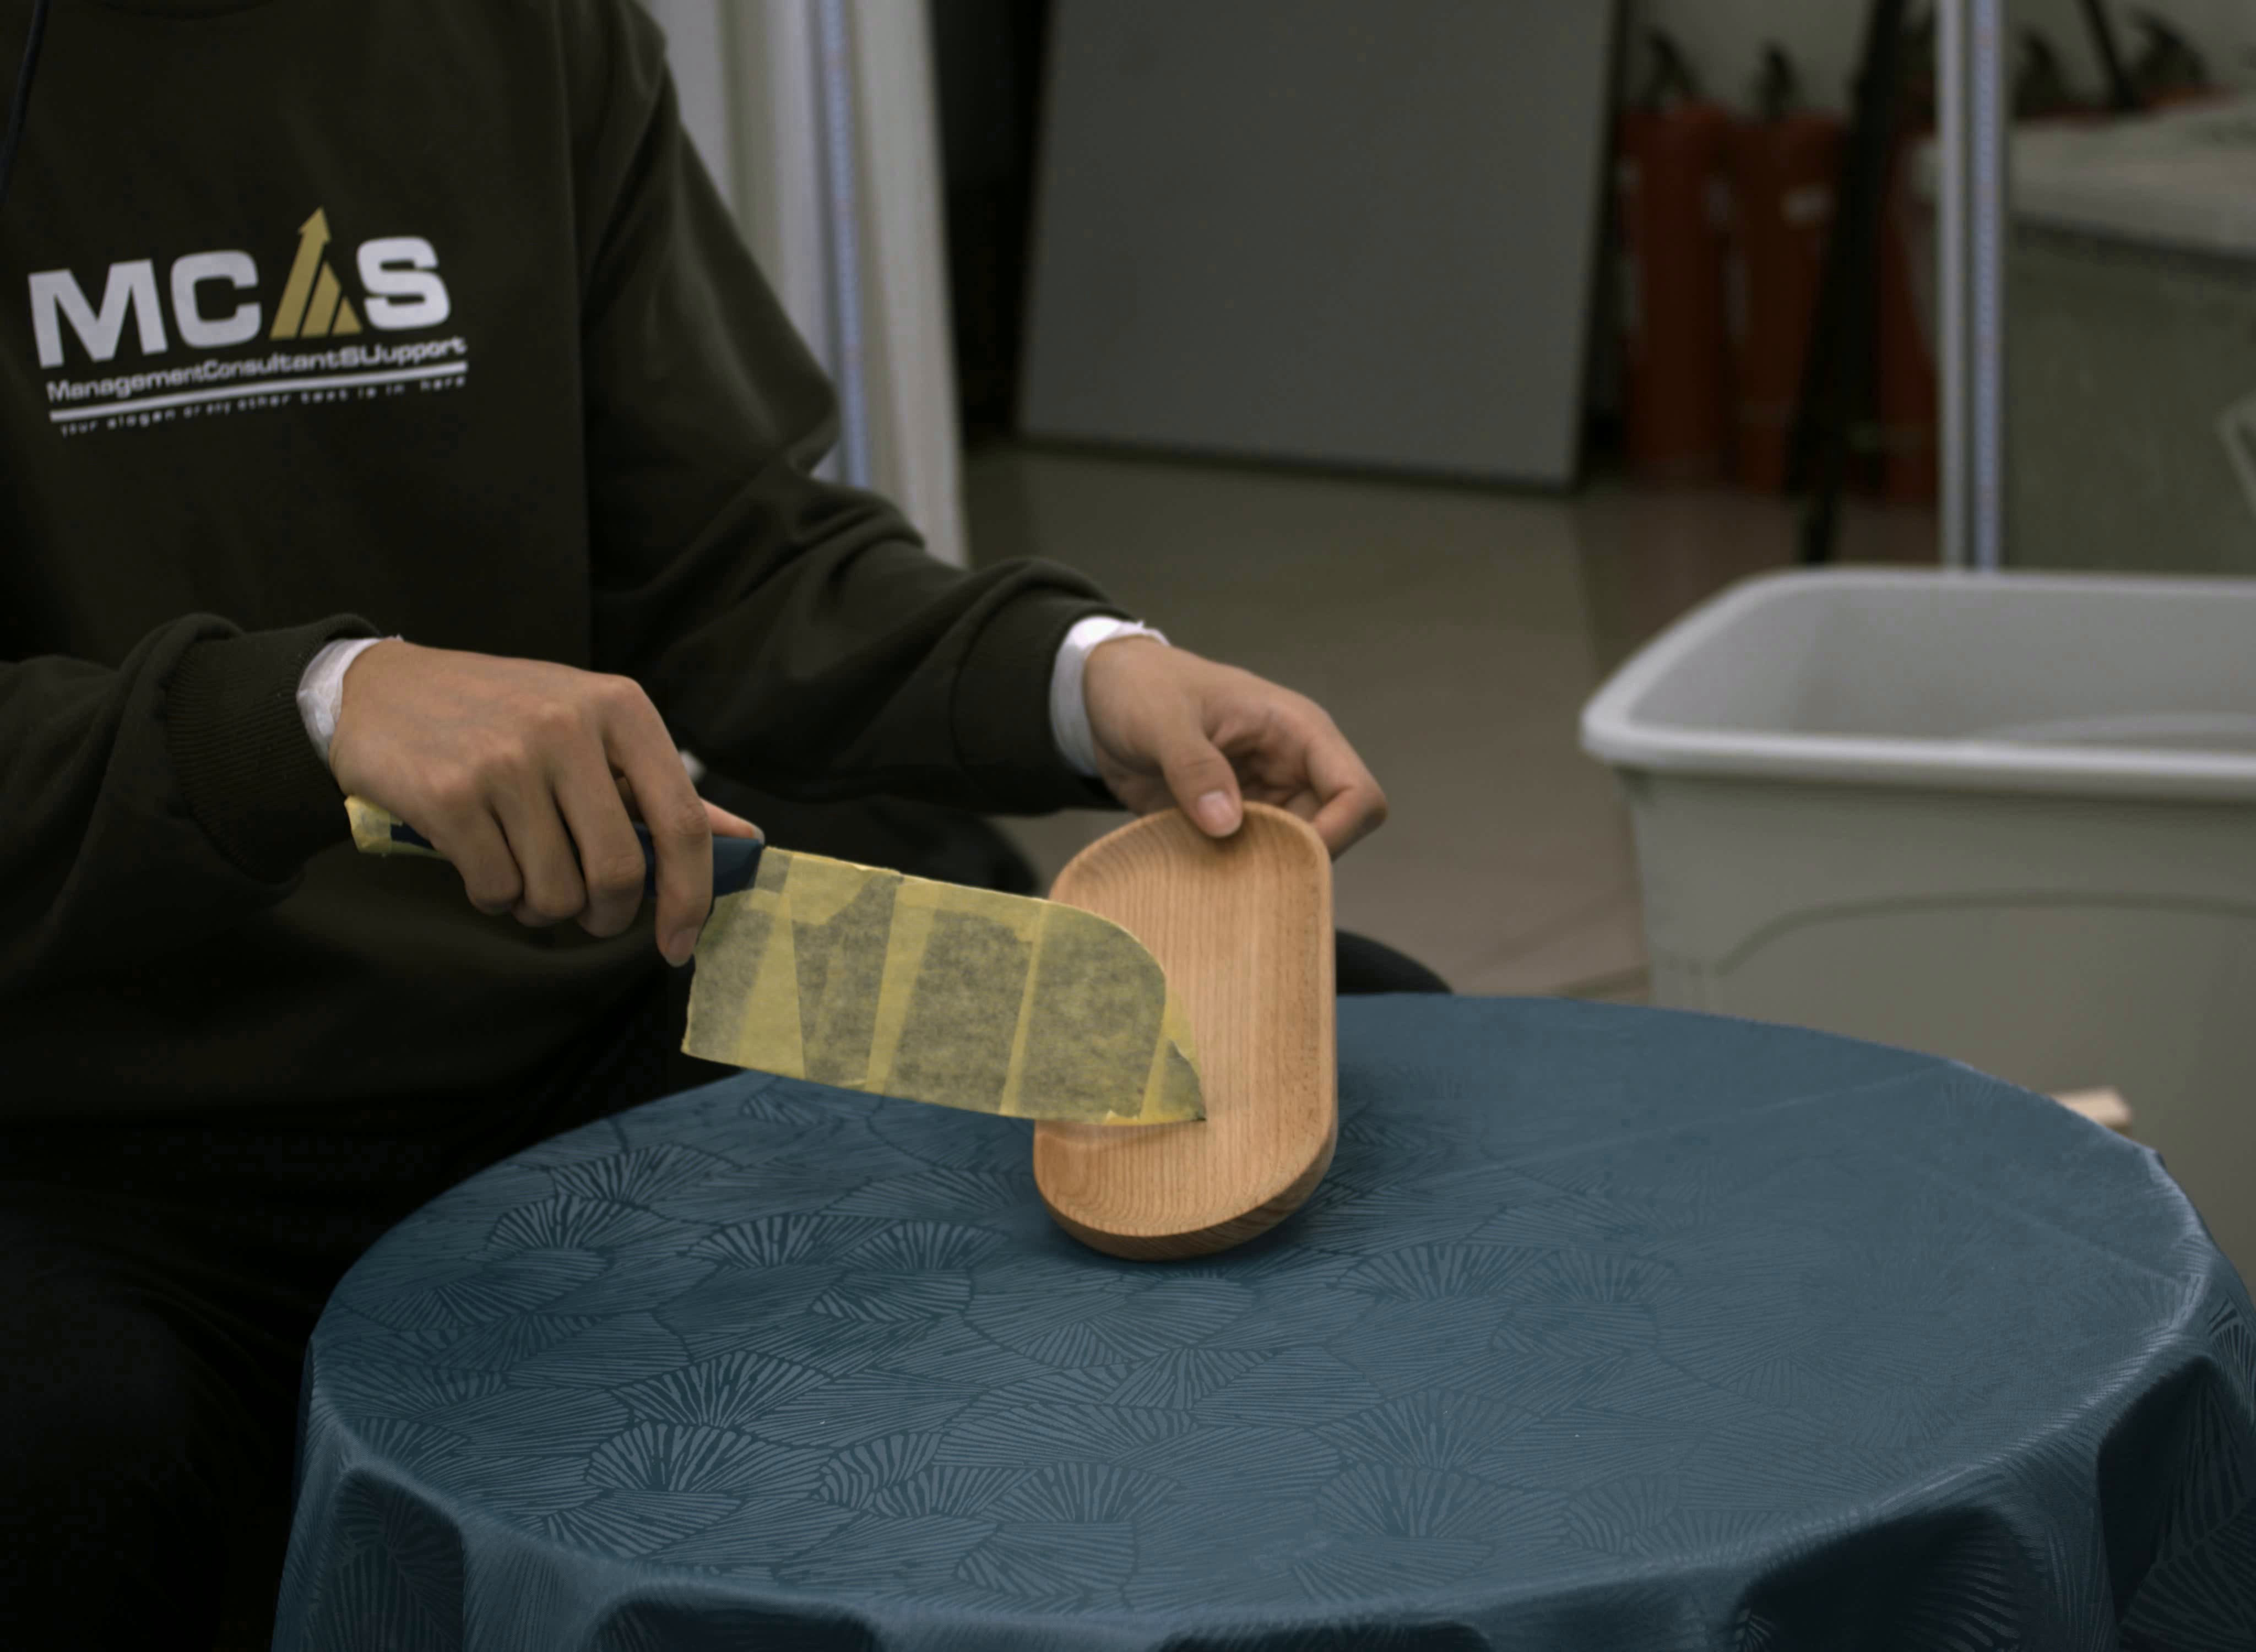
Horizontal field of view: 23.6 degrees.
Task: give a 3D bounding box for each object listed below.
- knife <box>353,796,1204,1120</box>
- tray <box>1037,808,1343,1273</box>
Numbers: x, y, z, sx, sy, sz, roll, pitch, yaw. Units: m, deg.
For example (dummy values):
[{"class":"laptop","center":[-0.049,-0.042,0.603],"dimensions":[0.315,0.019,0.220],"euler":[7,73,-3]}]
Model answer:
[{"class":"knife","center":[-0.113,0.042,1.745],"dimensions":[0.286,0.082,0.027],"euler":[14,1,2]},{"class":"tray","center":[0.022,0.068,1.783],"dimensions":[0.101,0.020,0.232],"euler":[-13,36,10]}]
